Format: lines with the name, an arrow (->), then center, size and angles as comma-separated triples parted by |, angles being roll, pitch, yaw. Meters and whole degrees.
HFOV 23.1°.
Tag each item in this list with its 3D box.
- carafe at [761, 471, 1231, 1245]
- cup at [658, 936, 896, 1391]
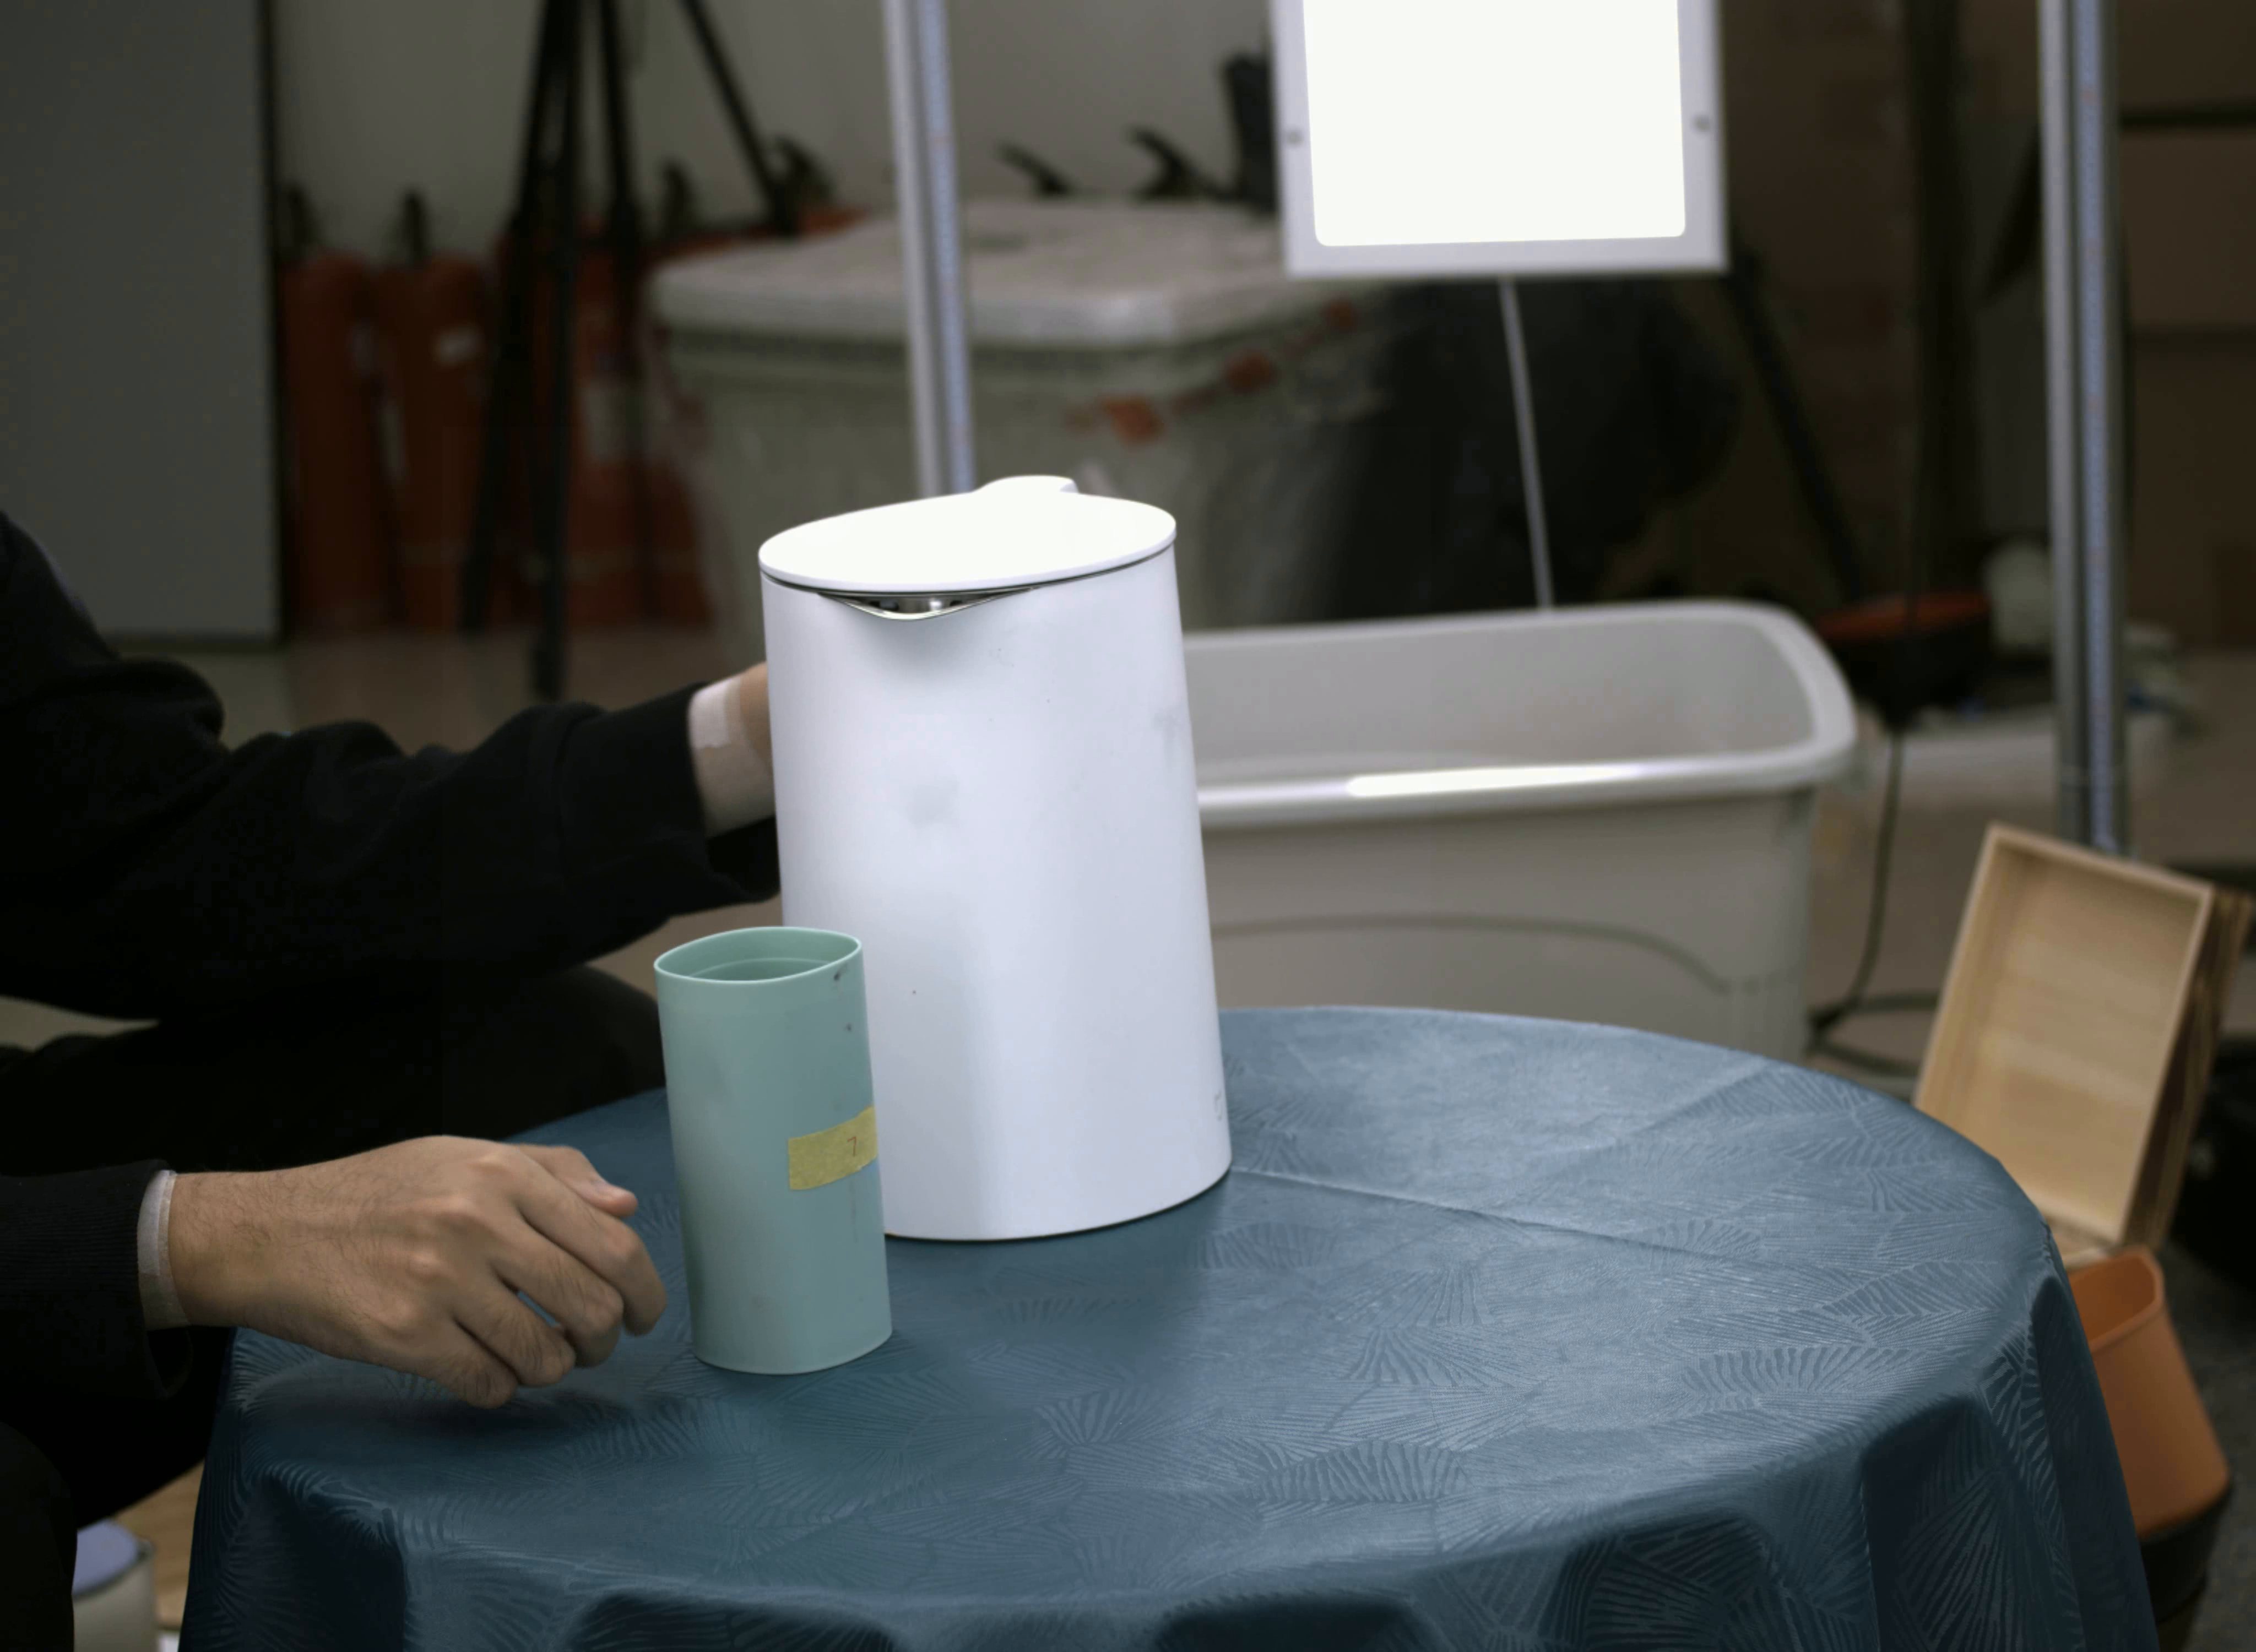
carafe -> -0.040, 0.005, 1.919 | 0.153, 0.241, 0.210 | 0, 15, 13
cup -> -0.112, 0.106, 1.756 | 0.066, 0.133, 0.066 | -4, 15, 0
